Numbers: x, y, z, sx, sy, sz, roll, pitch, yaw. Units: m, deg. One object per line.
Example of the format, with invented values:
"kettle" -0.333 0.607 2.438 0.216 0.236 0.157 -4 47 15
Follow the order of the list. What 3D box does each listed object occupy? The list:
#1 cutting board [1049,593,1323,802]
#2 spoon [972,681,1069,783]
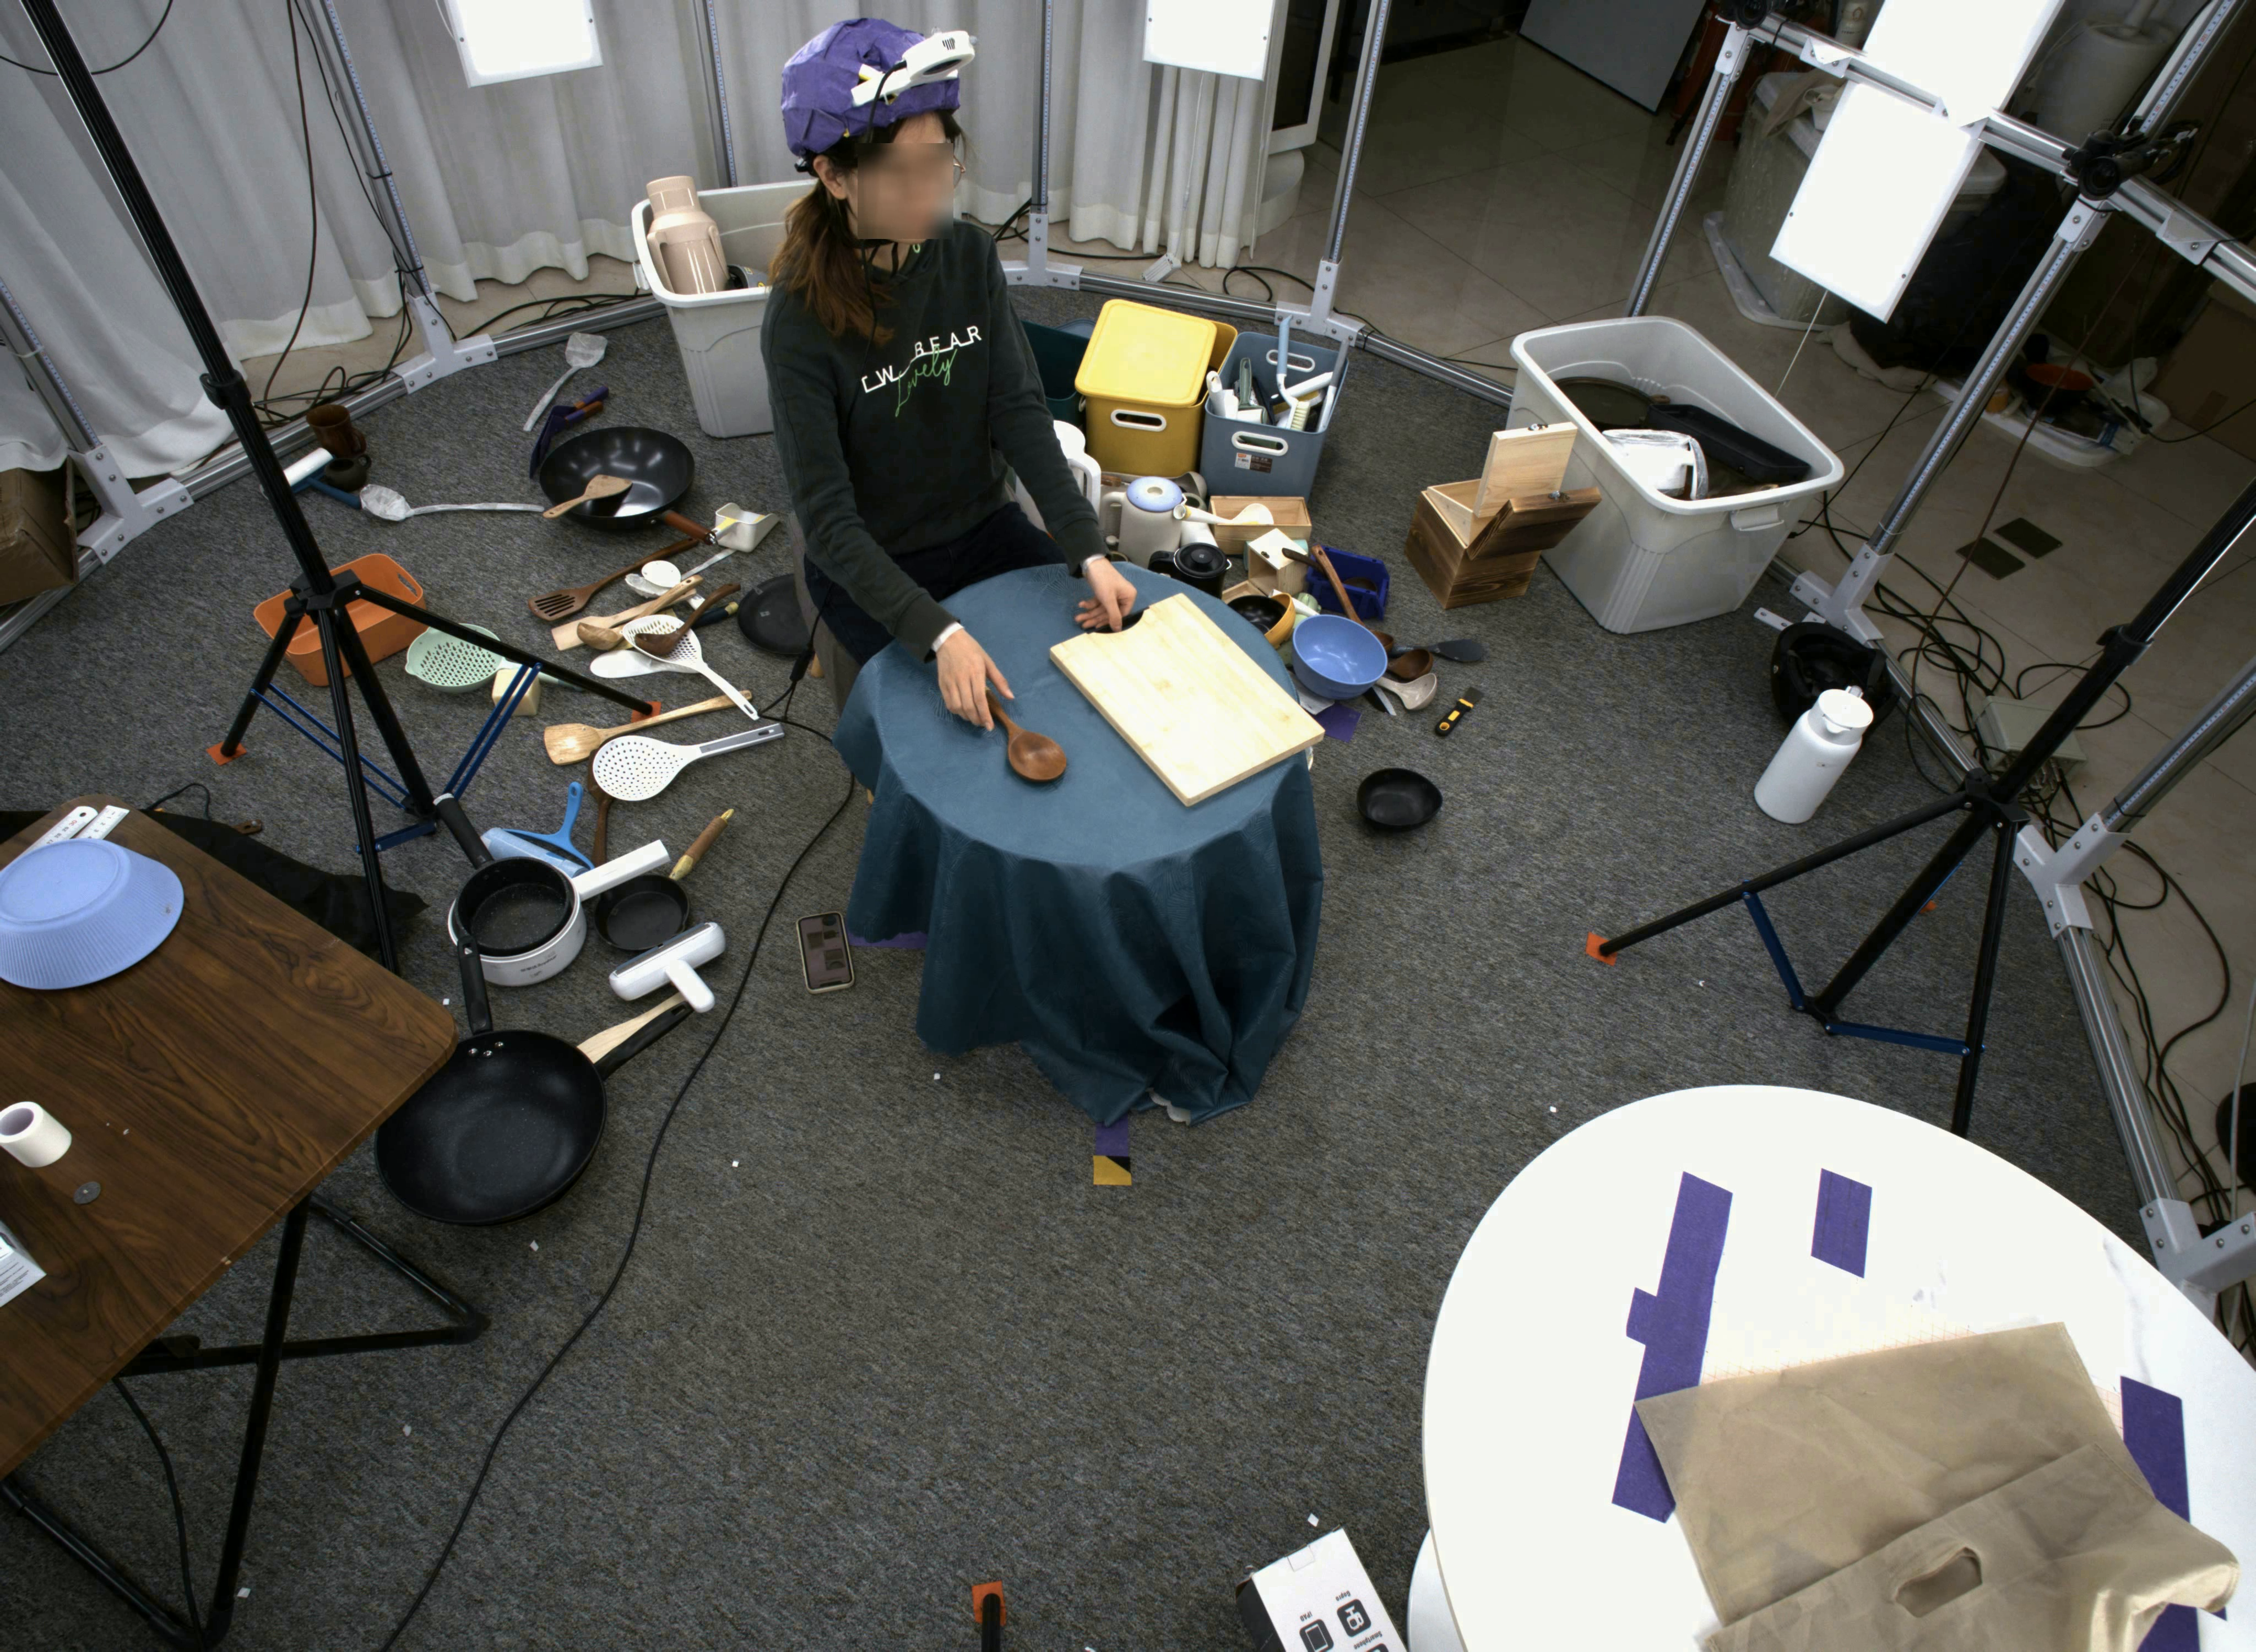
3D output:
"cutting board" 0.078 -0.193 1.847 0.252 0.023 0.355 -26 55 -25
"spoon" -0.156 -0.132 1.777 0.076 0.017 0.220 -26 56 -22
